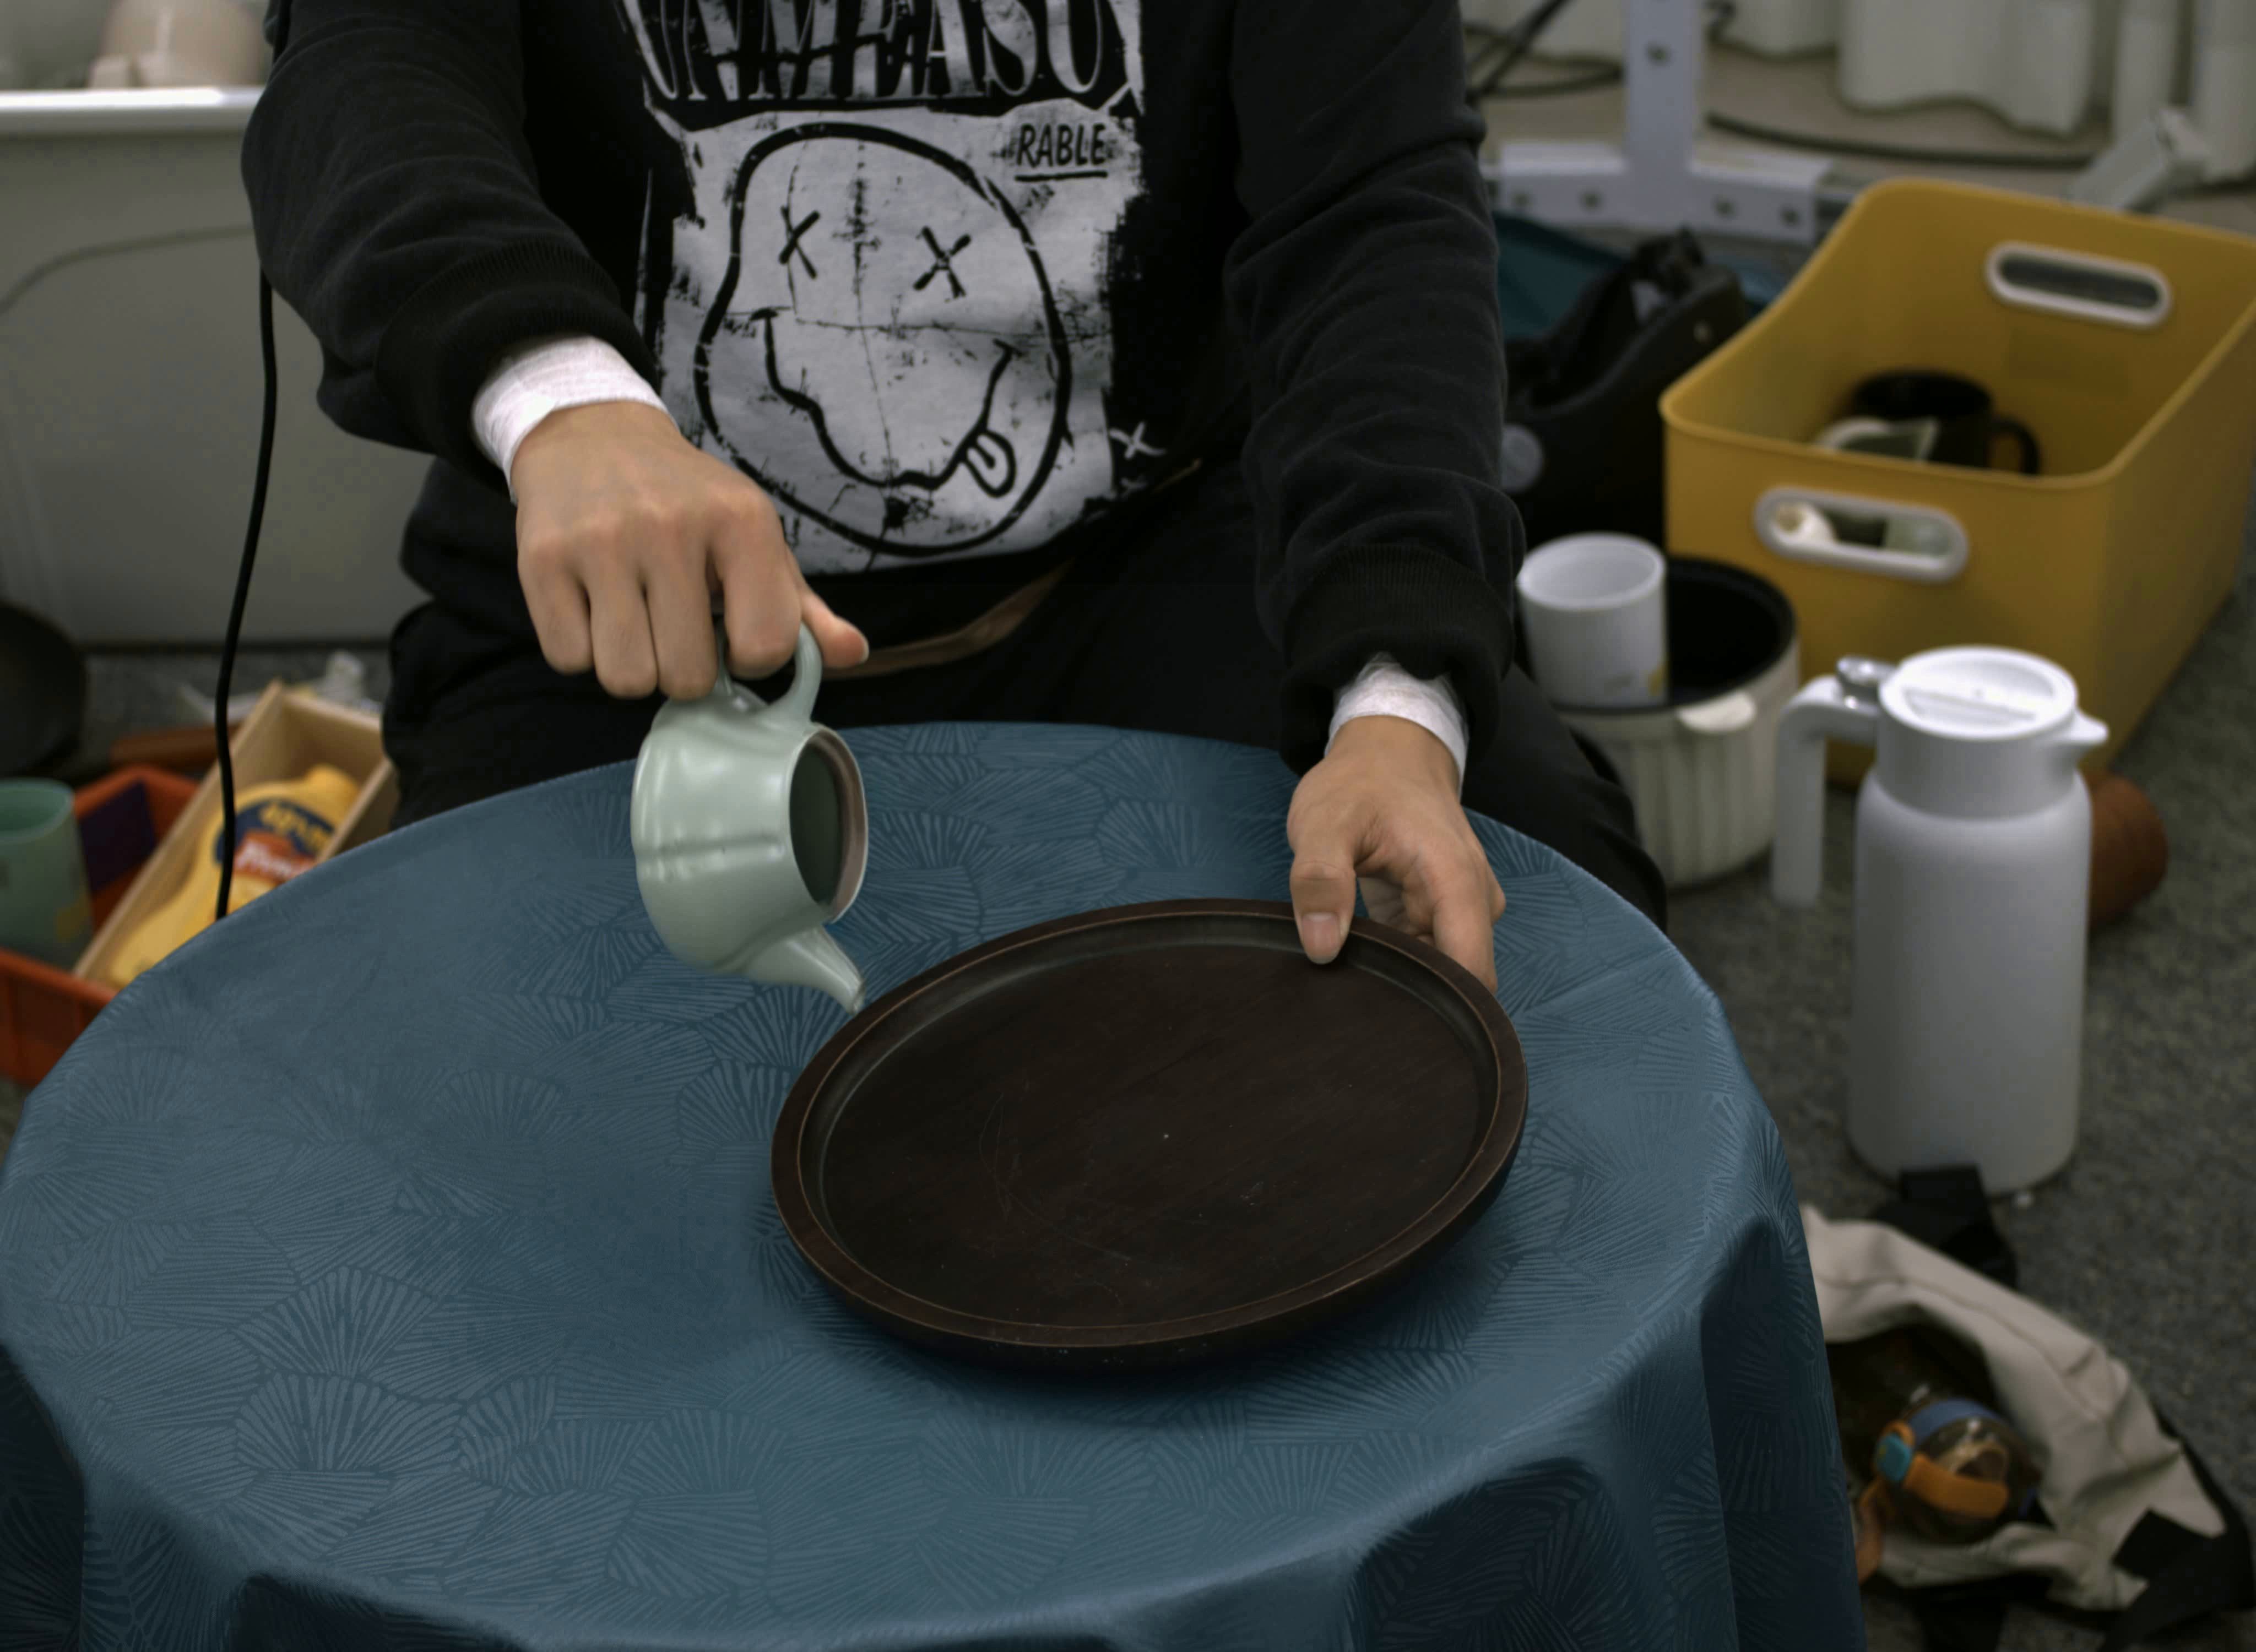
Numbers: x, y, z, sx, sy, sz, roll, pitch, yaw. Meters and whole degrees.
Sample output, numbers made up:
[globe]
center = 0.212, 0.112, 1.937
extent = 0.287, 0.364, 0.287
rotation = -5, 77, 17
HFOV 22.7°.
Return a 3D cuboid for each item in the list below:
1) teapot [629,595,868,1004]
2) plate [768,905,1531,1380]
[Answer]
[teapot]
center = -0.121, -0.007, 1.811
extent = 0.061, 0.136, 0.097
rotation = -2, 14, 22
[plate]
center = 0.007, 0.102, 1.845
extent = 0.253, 0.028, 0.259
rotation = -7, 32, 4
